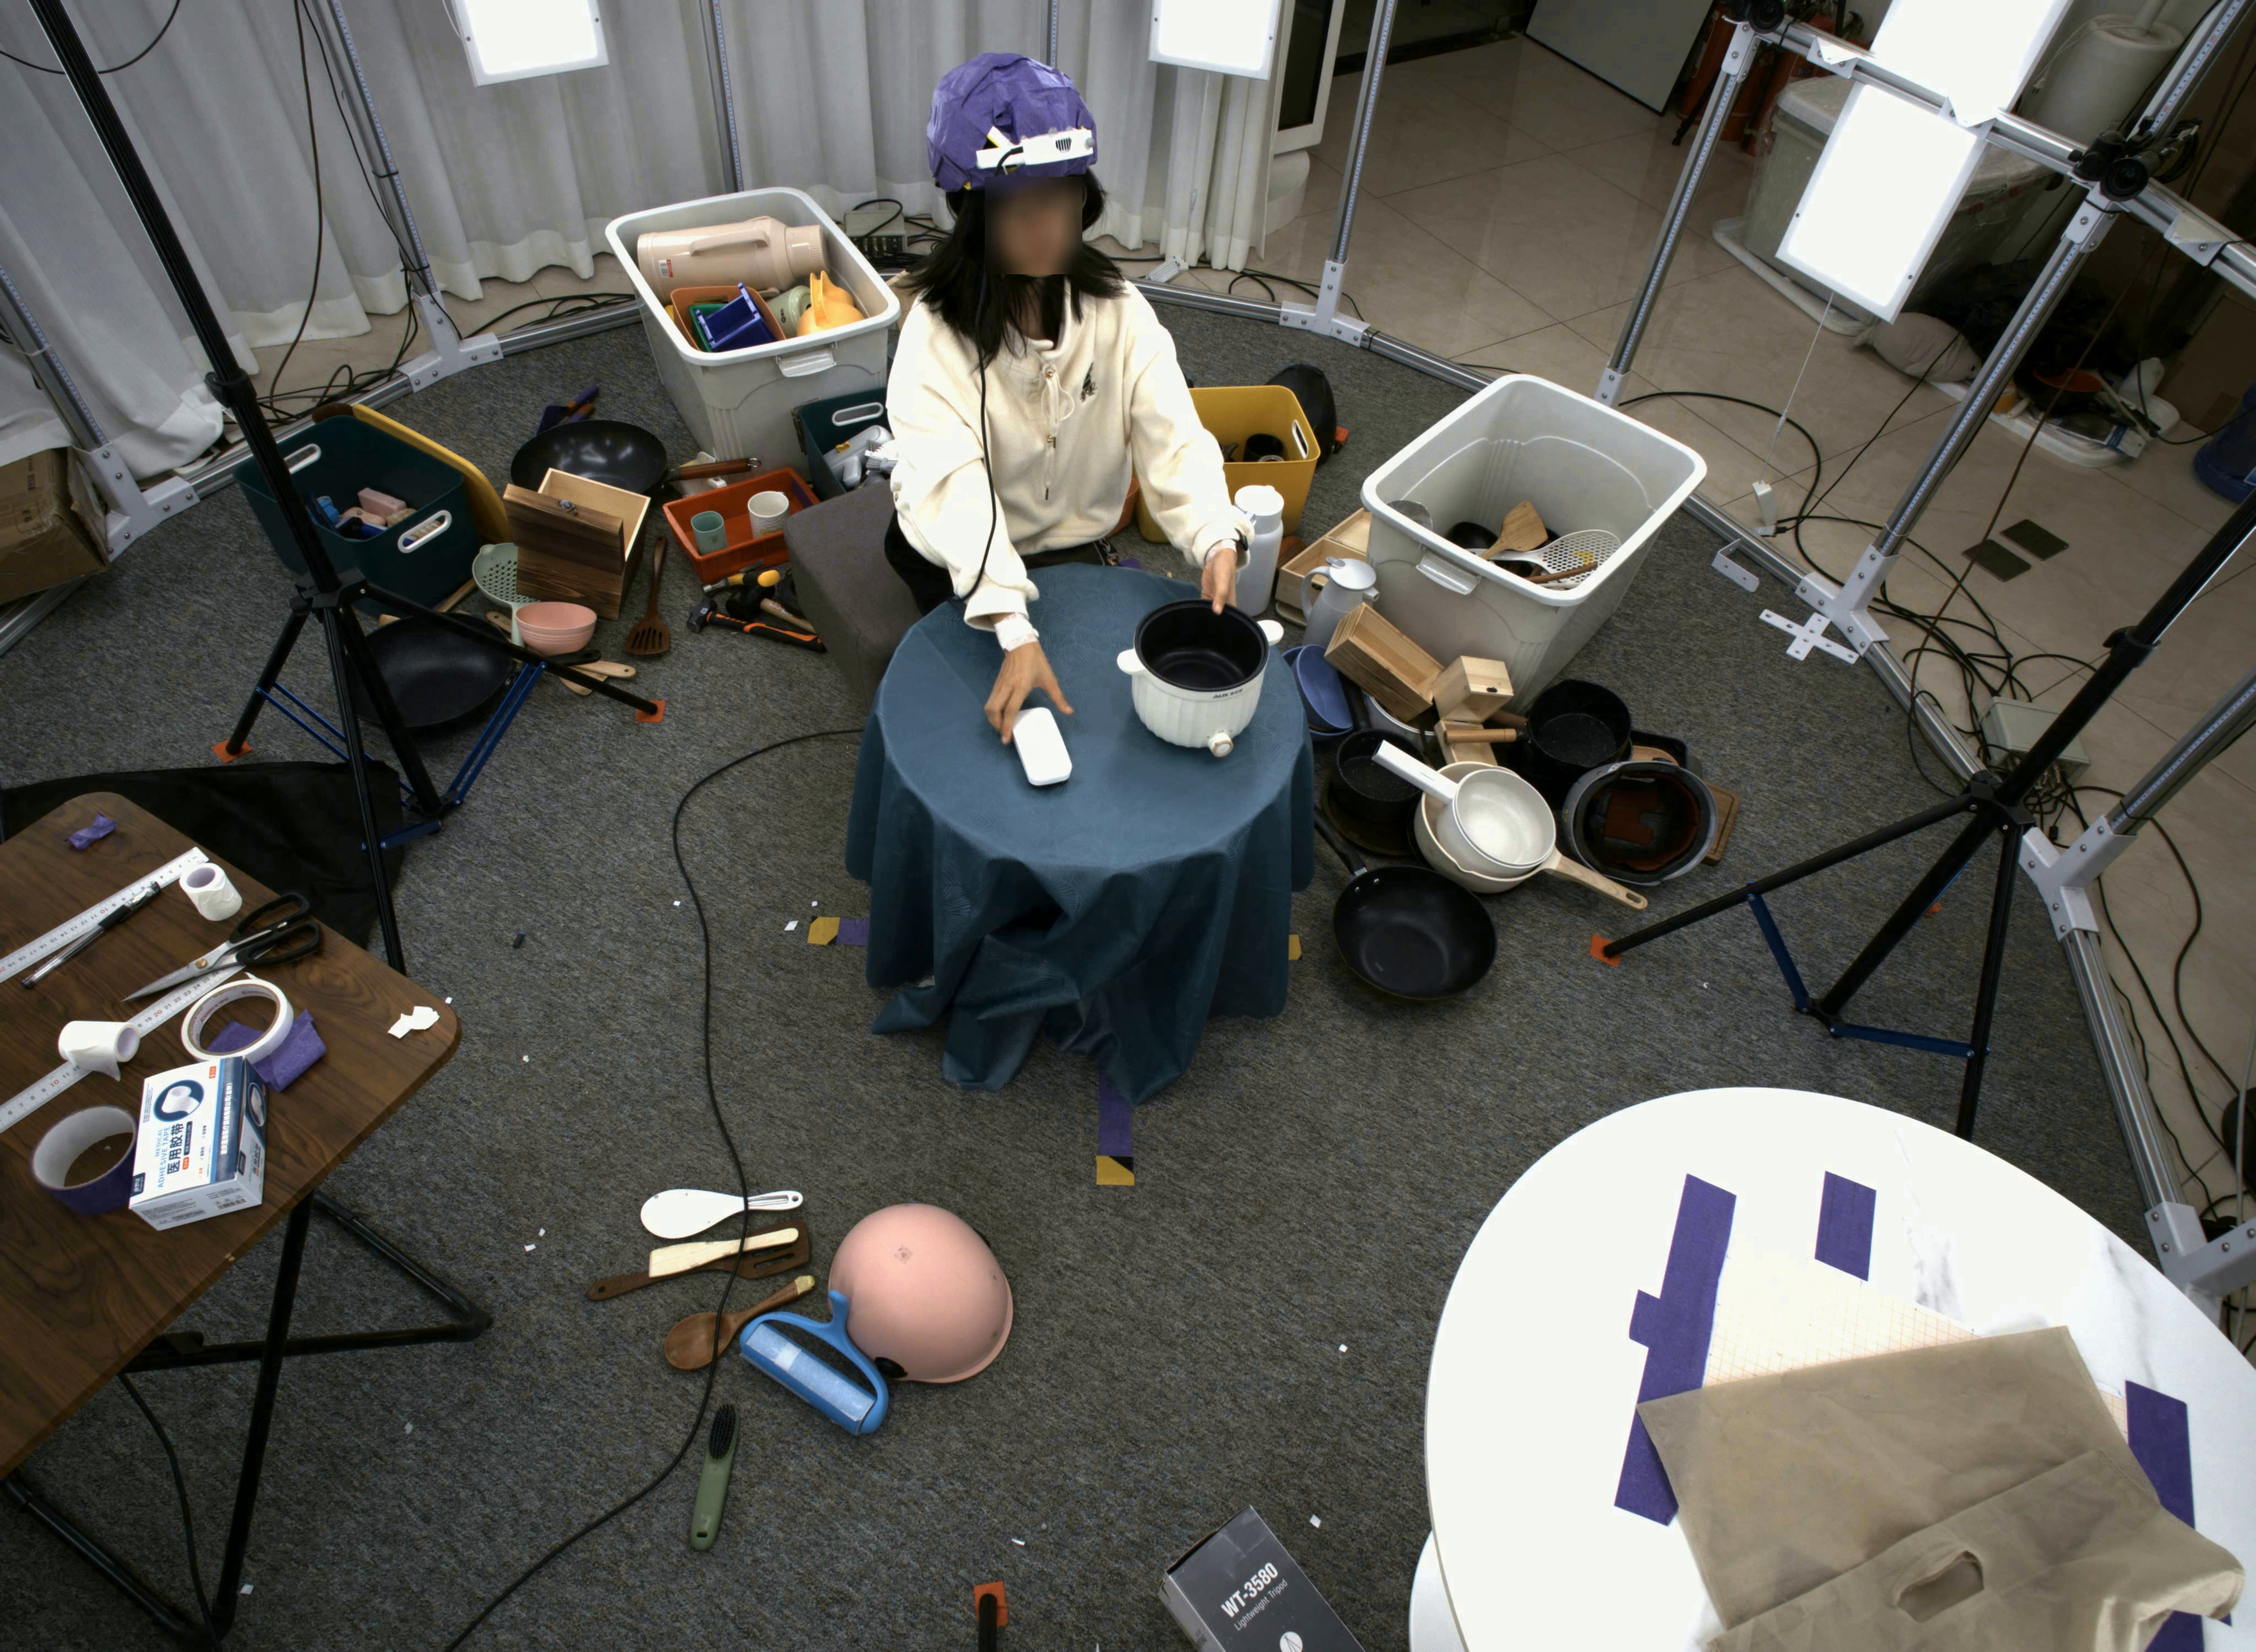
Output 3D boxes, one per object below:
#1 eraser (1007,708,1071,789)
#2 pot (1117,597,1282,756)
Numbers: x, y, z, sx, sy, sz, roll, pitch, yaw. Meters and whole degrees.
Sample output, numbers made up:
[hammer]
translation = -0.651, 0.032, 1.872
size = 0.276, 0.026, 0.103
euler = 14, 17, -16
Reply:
[eraser]
translation = -0.120, -0.108, 1.736
size = 0.063, 0.034, 0.134
euler = -10, 51, -15
[pot]
translation = 0.097, -0.199, 1.759
size = 0.240, 0.139, 0.195
euler = -16, 49, -16
